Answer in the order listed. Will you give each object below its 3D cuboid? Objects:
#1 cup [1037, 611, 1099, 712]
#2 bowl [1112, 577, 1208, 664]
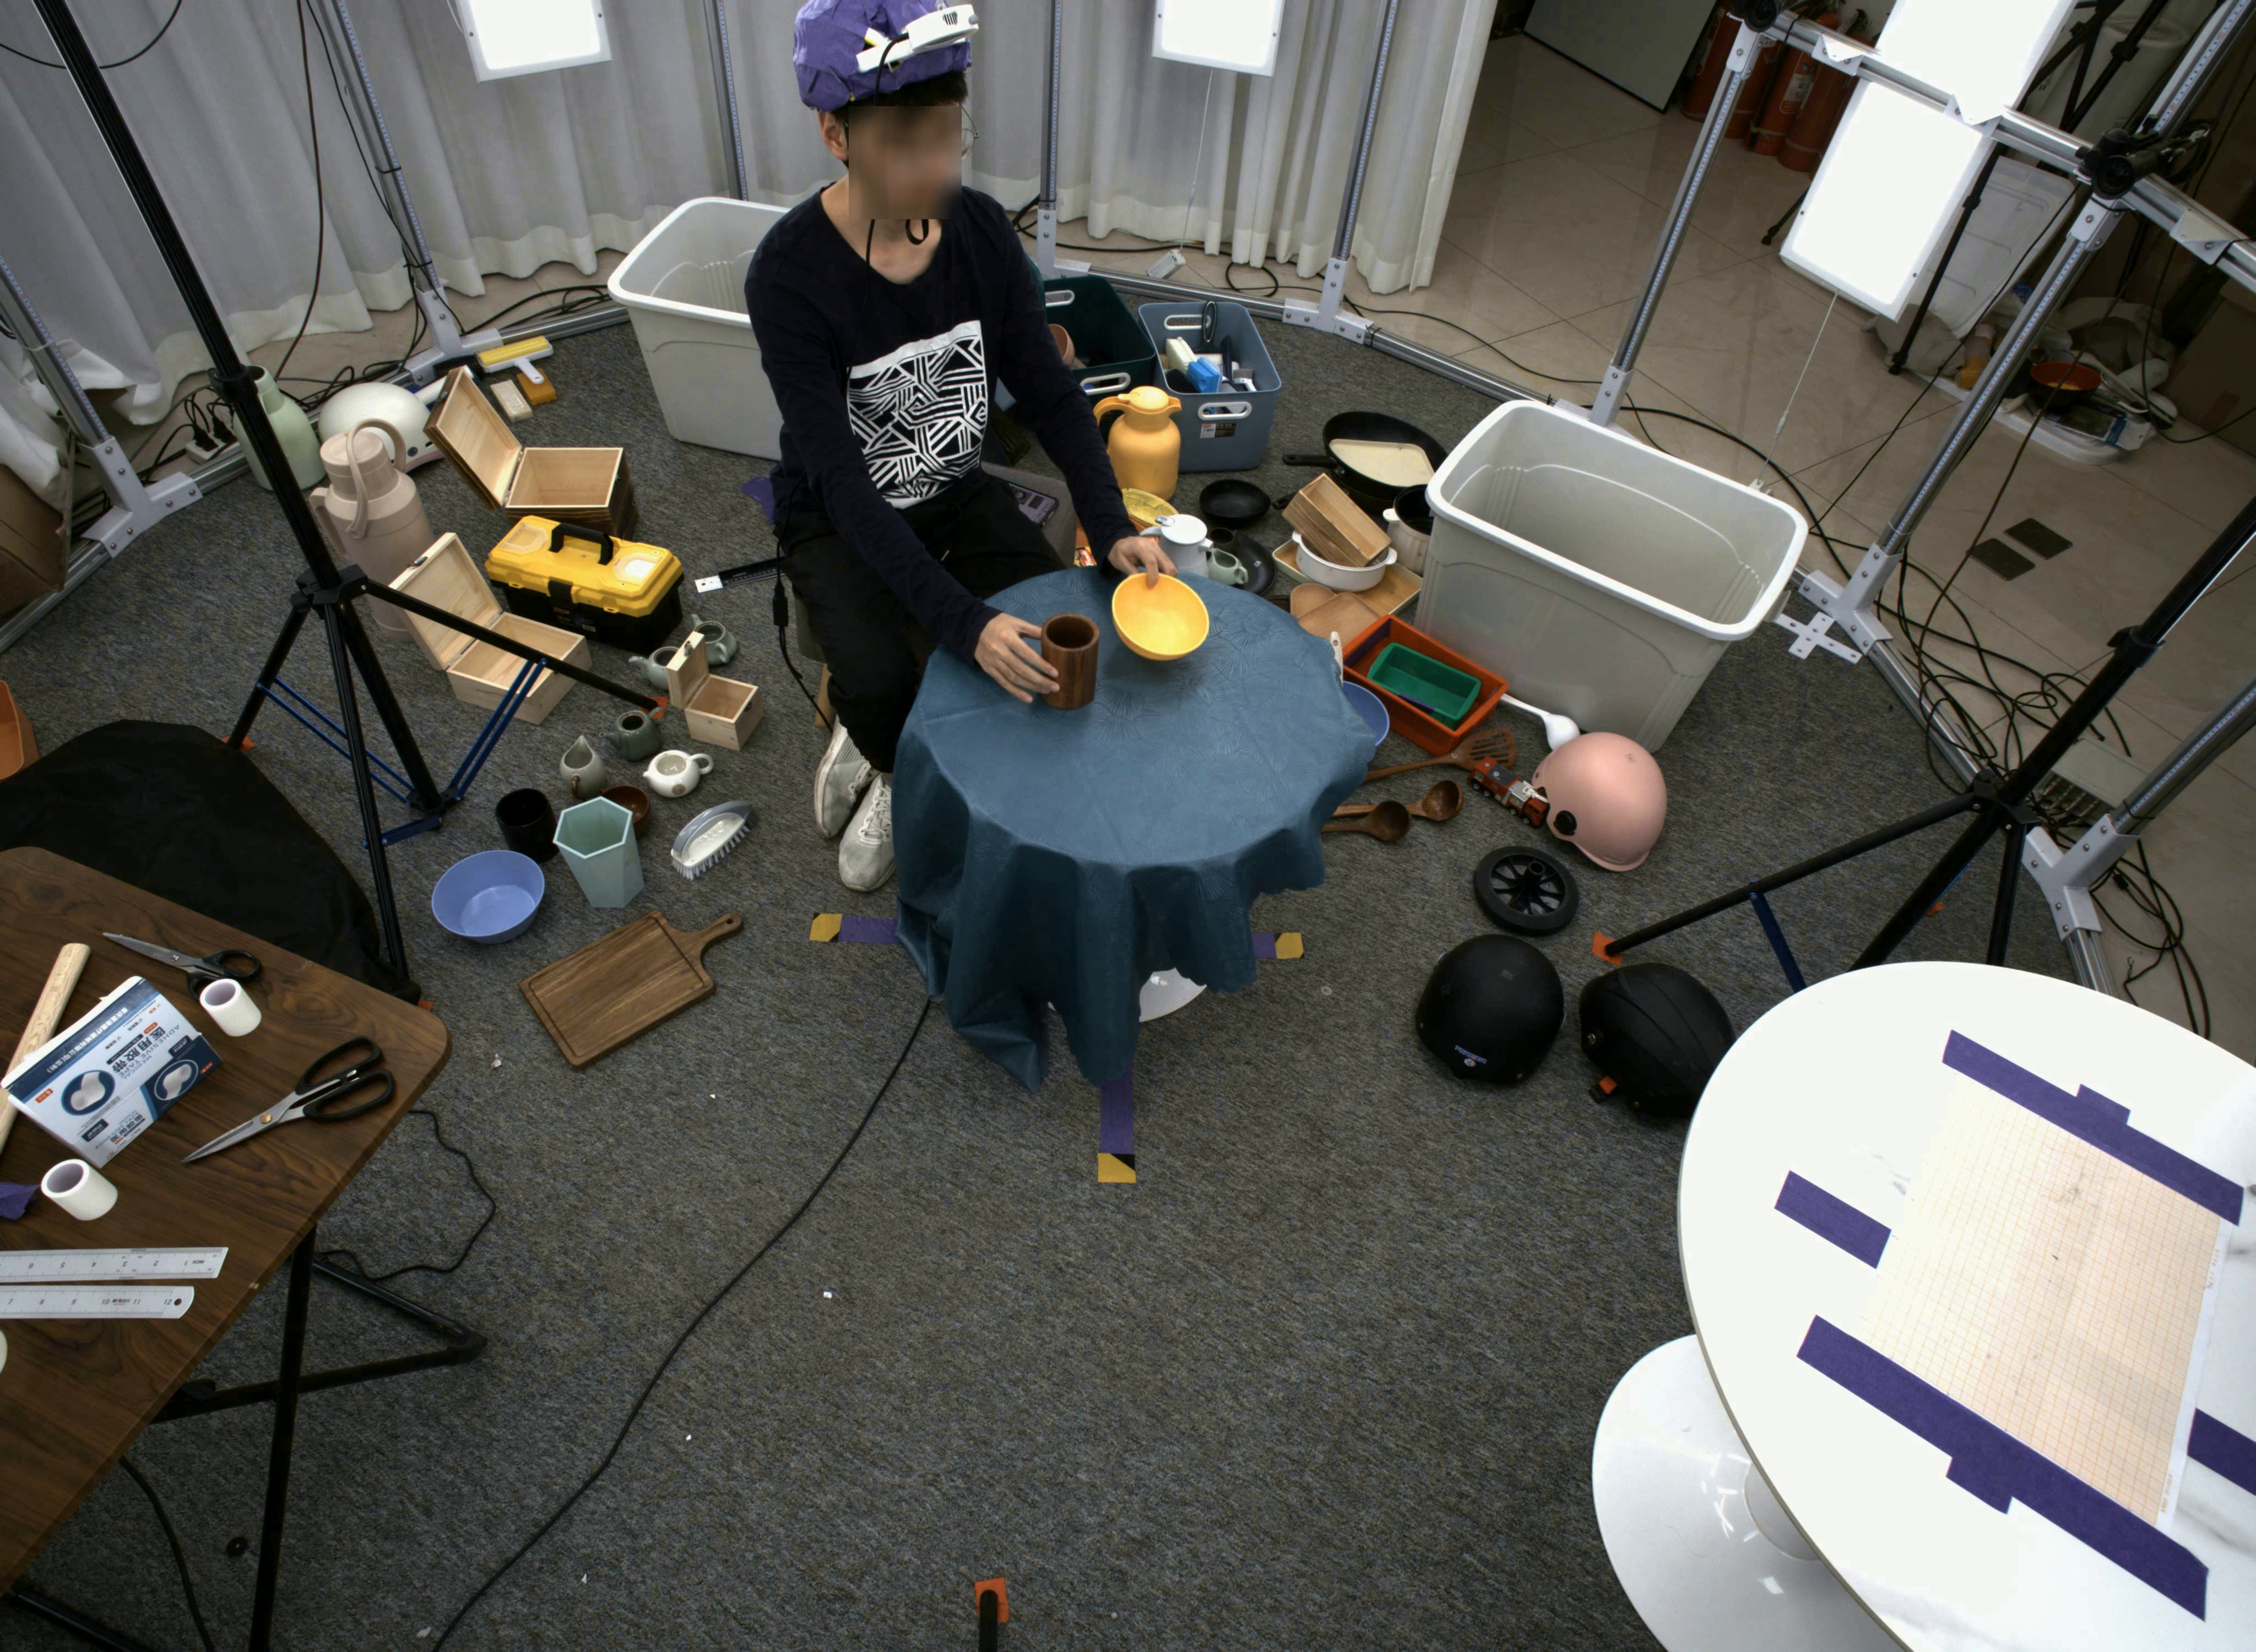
[{"bbox_3d":[-0.086,-0.229,1.785,0.087,0.115,0.090,4,46,-4],"label":"cup"},{"bbox_3d":[0.039,-0.286,1.857,0.145,0.059,0.148,8,57,-13],"label":"bowl"}]
